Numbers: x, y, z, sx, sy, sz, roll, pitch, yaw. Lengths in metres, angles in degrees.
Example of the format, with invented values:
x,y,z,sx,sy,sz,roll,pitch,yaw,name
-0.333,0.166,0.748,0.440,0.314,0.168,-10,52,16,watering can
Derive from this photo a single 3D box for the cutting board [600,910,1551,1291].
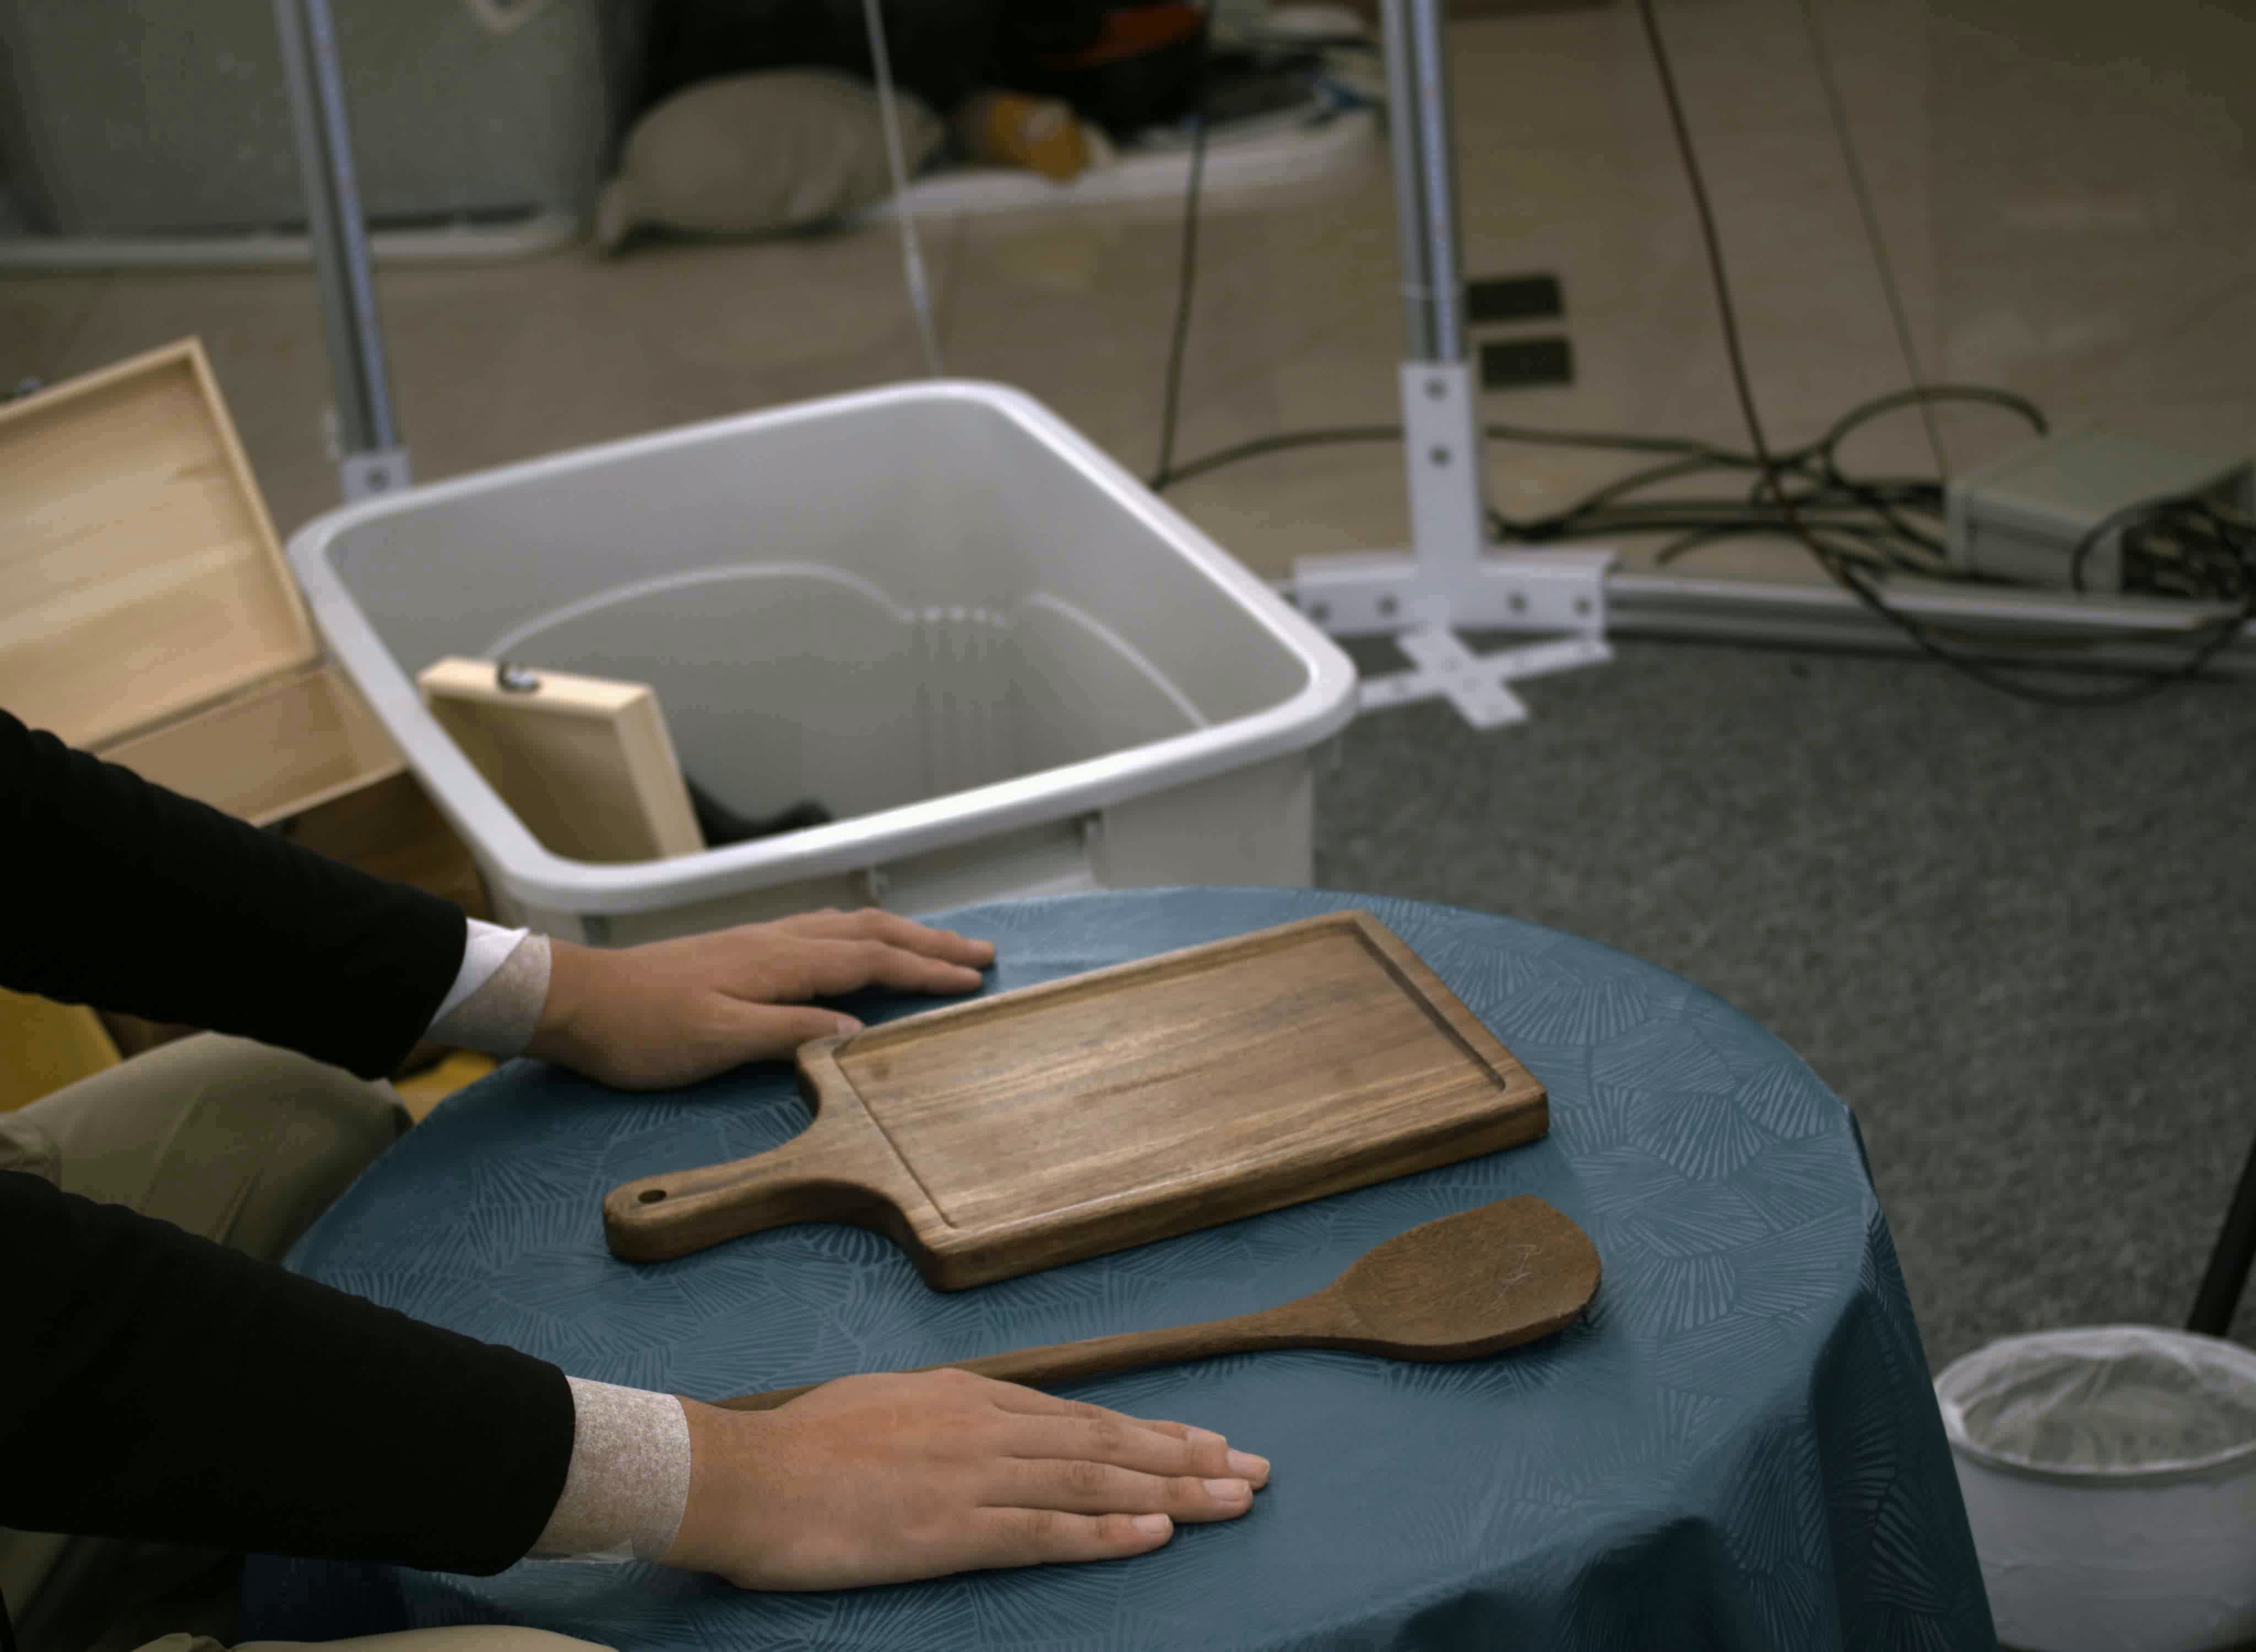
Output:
x,y,z,sx,sy,sz,roll,pitch,yaw,name
-0.034,0.113,2.187,0.351,0.023,0.198,-14,25,-15,cutting board

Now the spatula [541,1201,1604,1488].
x,y,z,sx,sy,sz,roll,pitch,yaw,name
-0.020,0.191,2.025,0.385,0.016,0.095,-10,24,-7,spatula
